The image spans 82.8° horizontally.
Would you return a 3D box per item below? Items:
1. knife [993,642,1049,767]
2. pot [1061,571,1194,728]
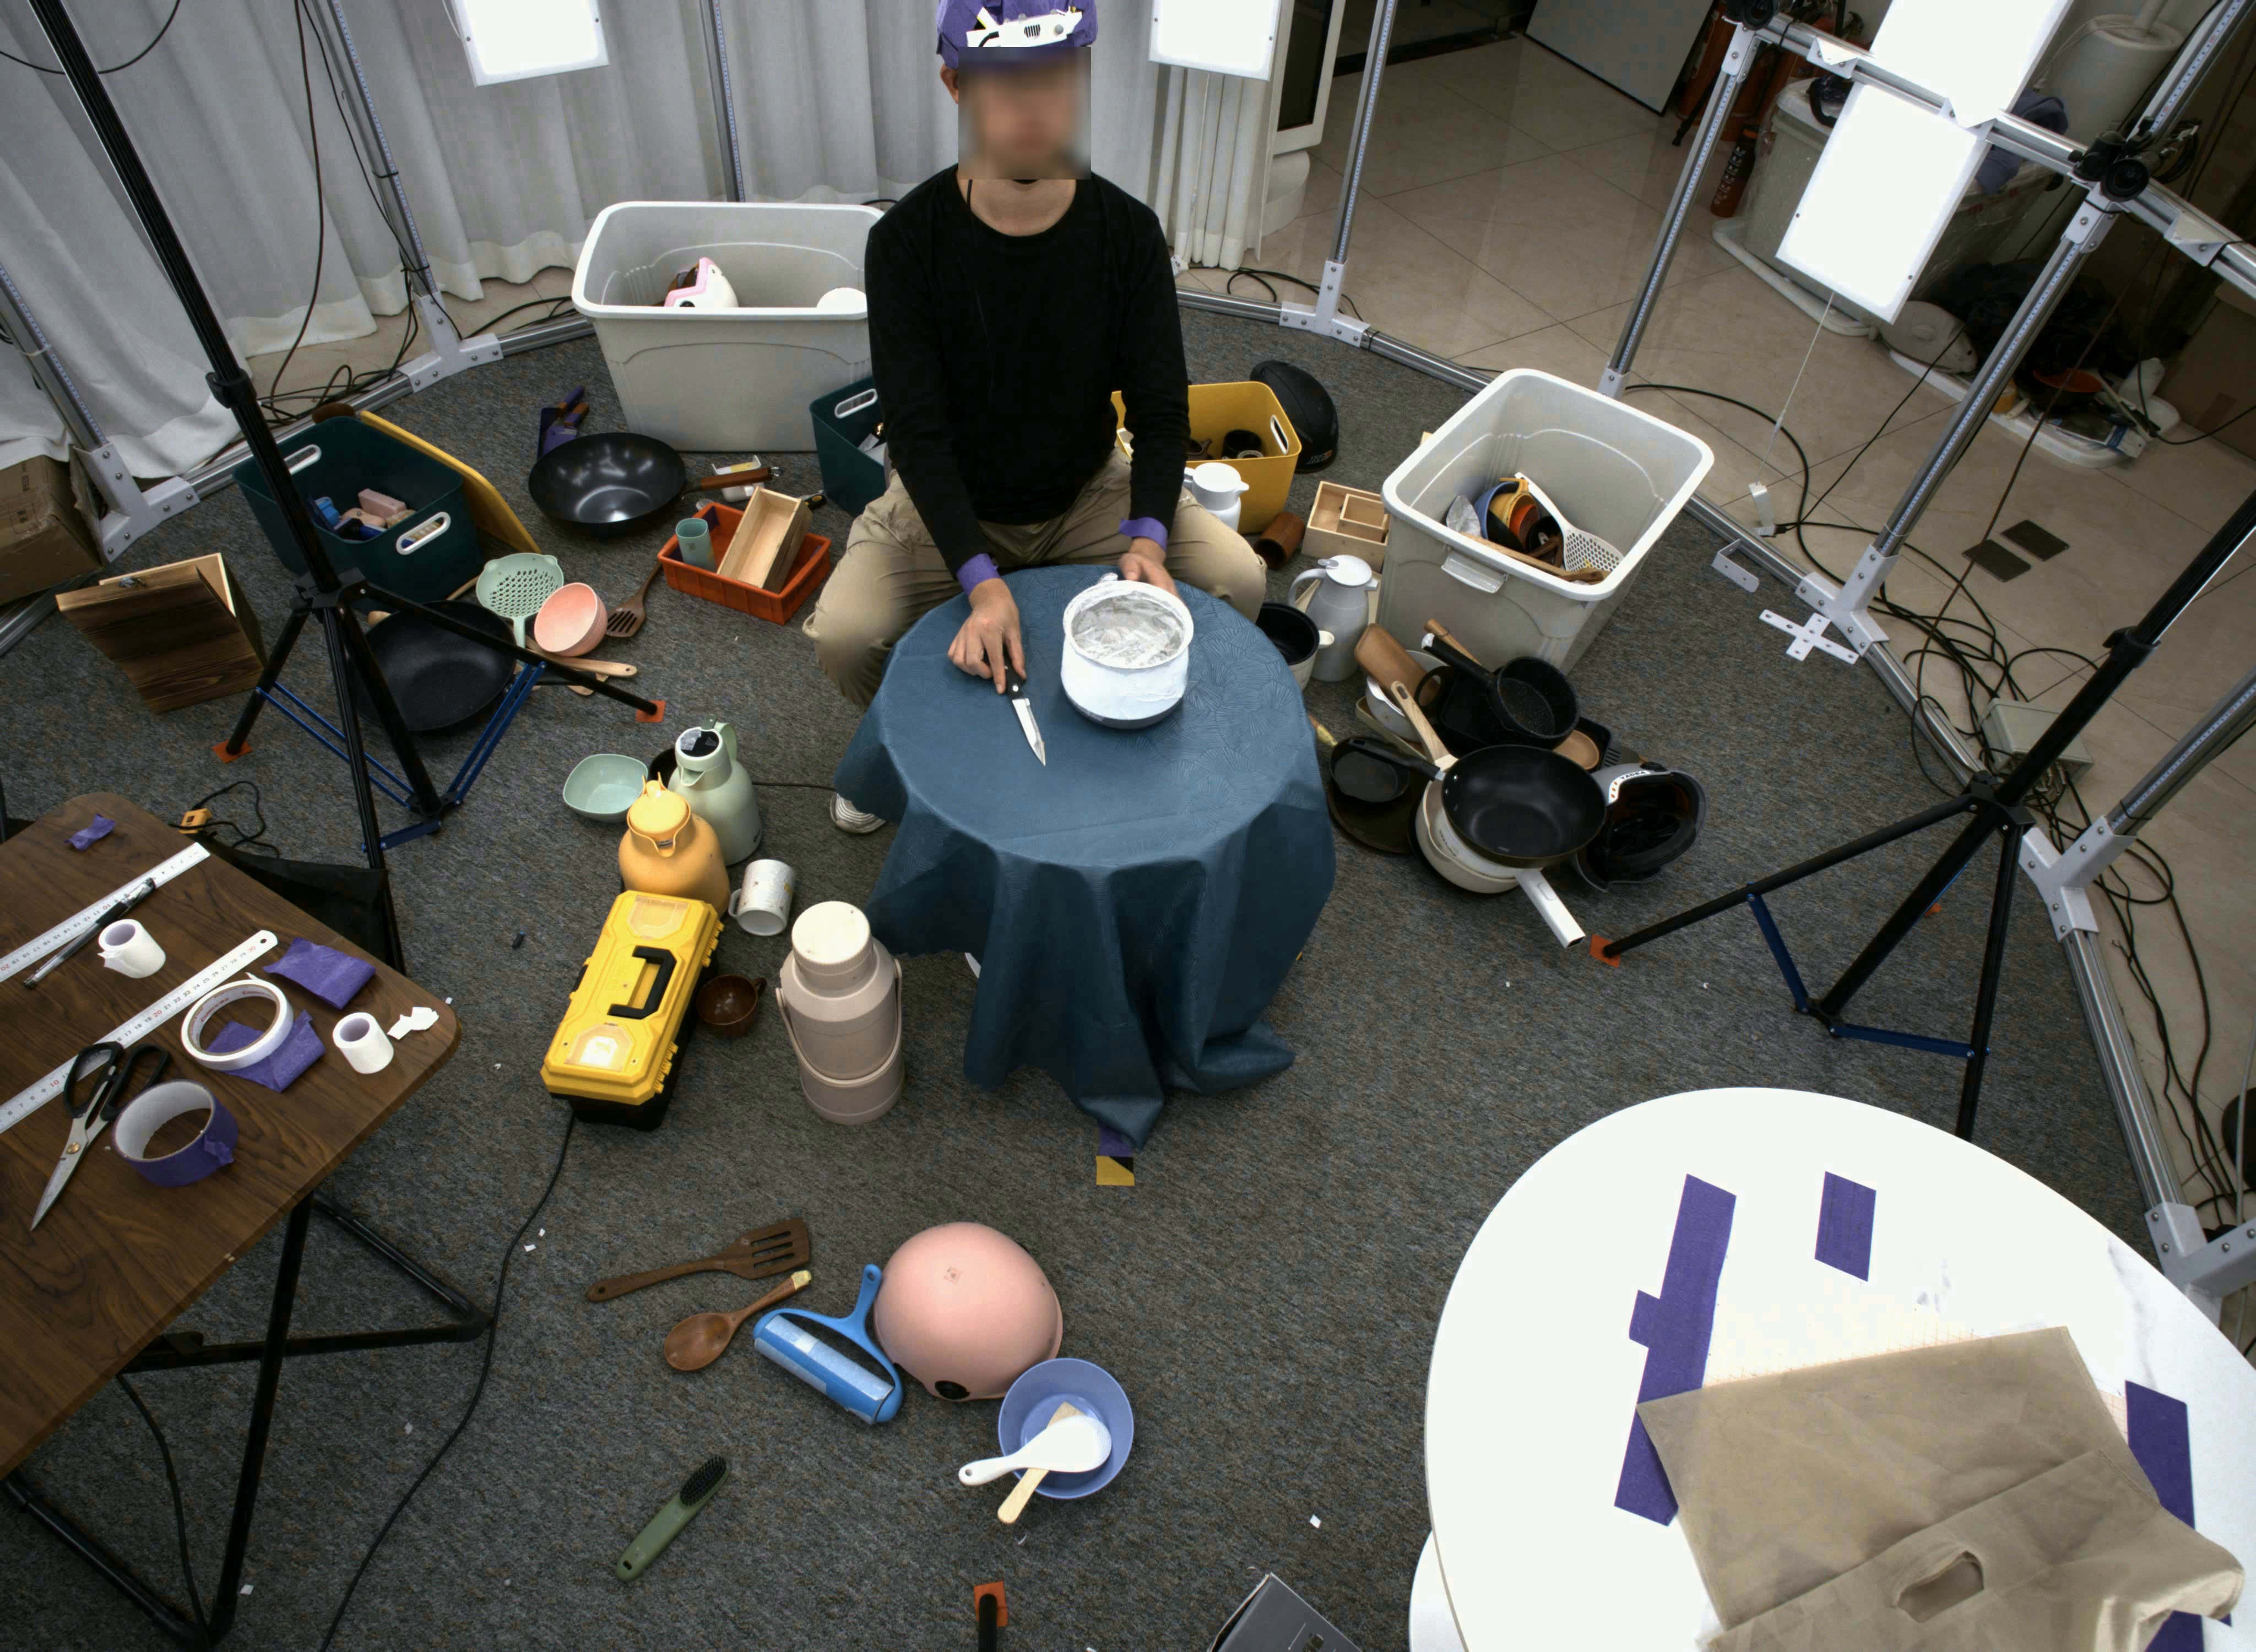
[{"bbox_3d":[-0.151,-0.172,1.802,0.024,0.016,0.244,-5,51,-25],"label":"knife"},{"bbox_3d":[-0.011,-0.256,1.799,0.178,0.133,0.239,-9,52,-12],"label":"pot"}]
